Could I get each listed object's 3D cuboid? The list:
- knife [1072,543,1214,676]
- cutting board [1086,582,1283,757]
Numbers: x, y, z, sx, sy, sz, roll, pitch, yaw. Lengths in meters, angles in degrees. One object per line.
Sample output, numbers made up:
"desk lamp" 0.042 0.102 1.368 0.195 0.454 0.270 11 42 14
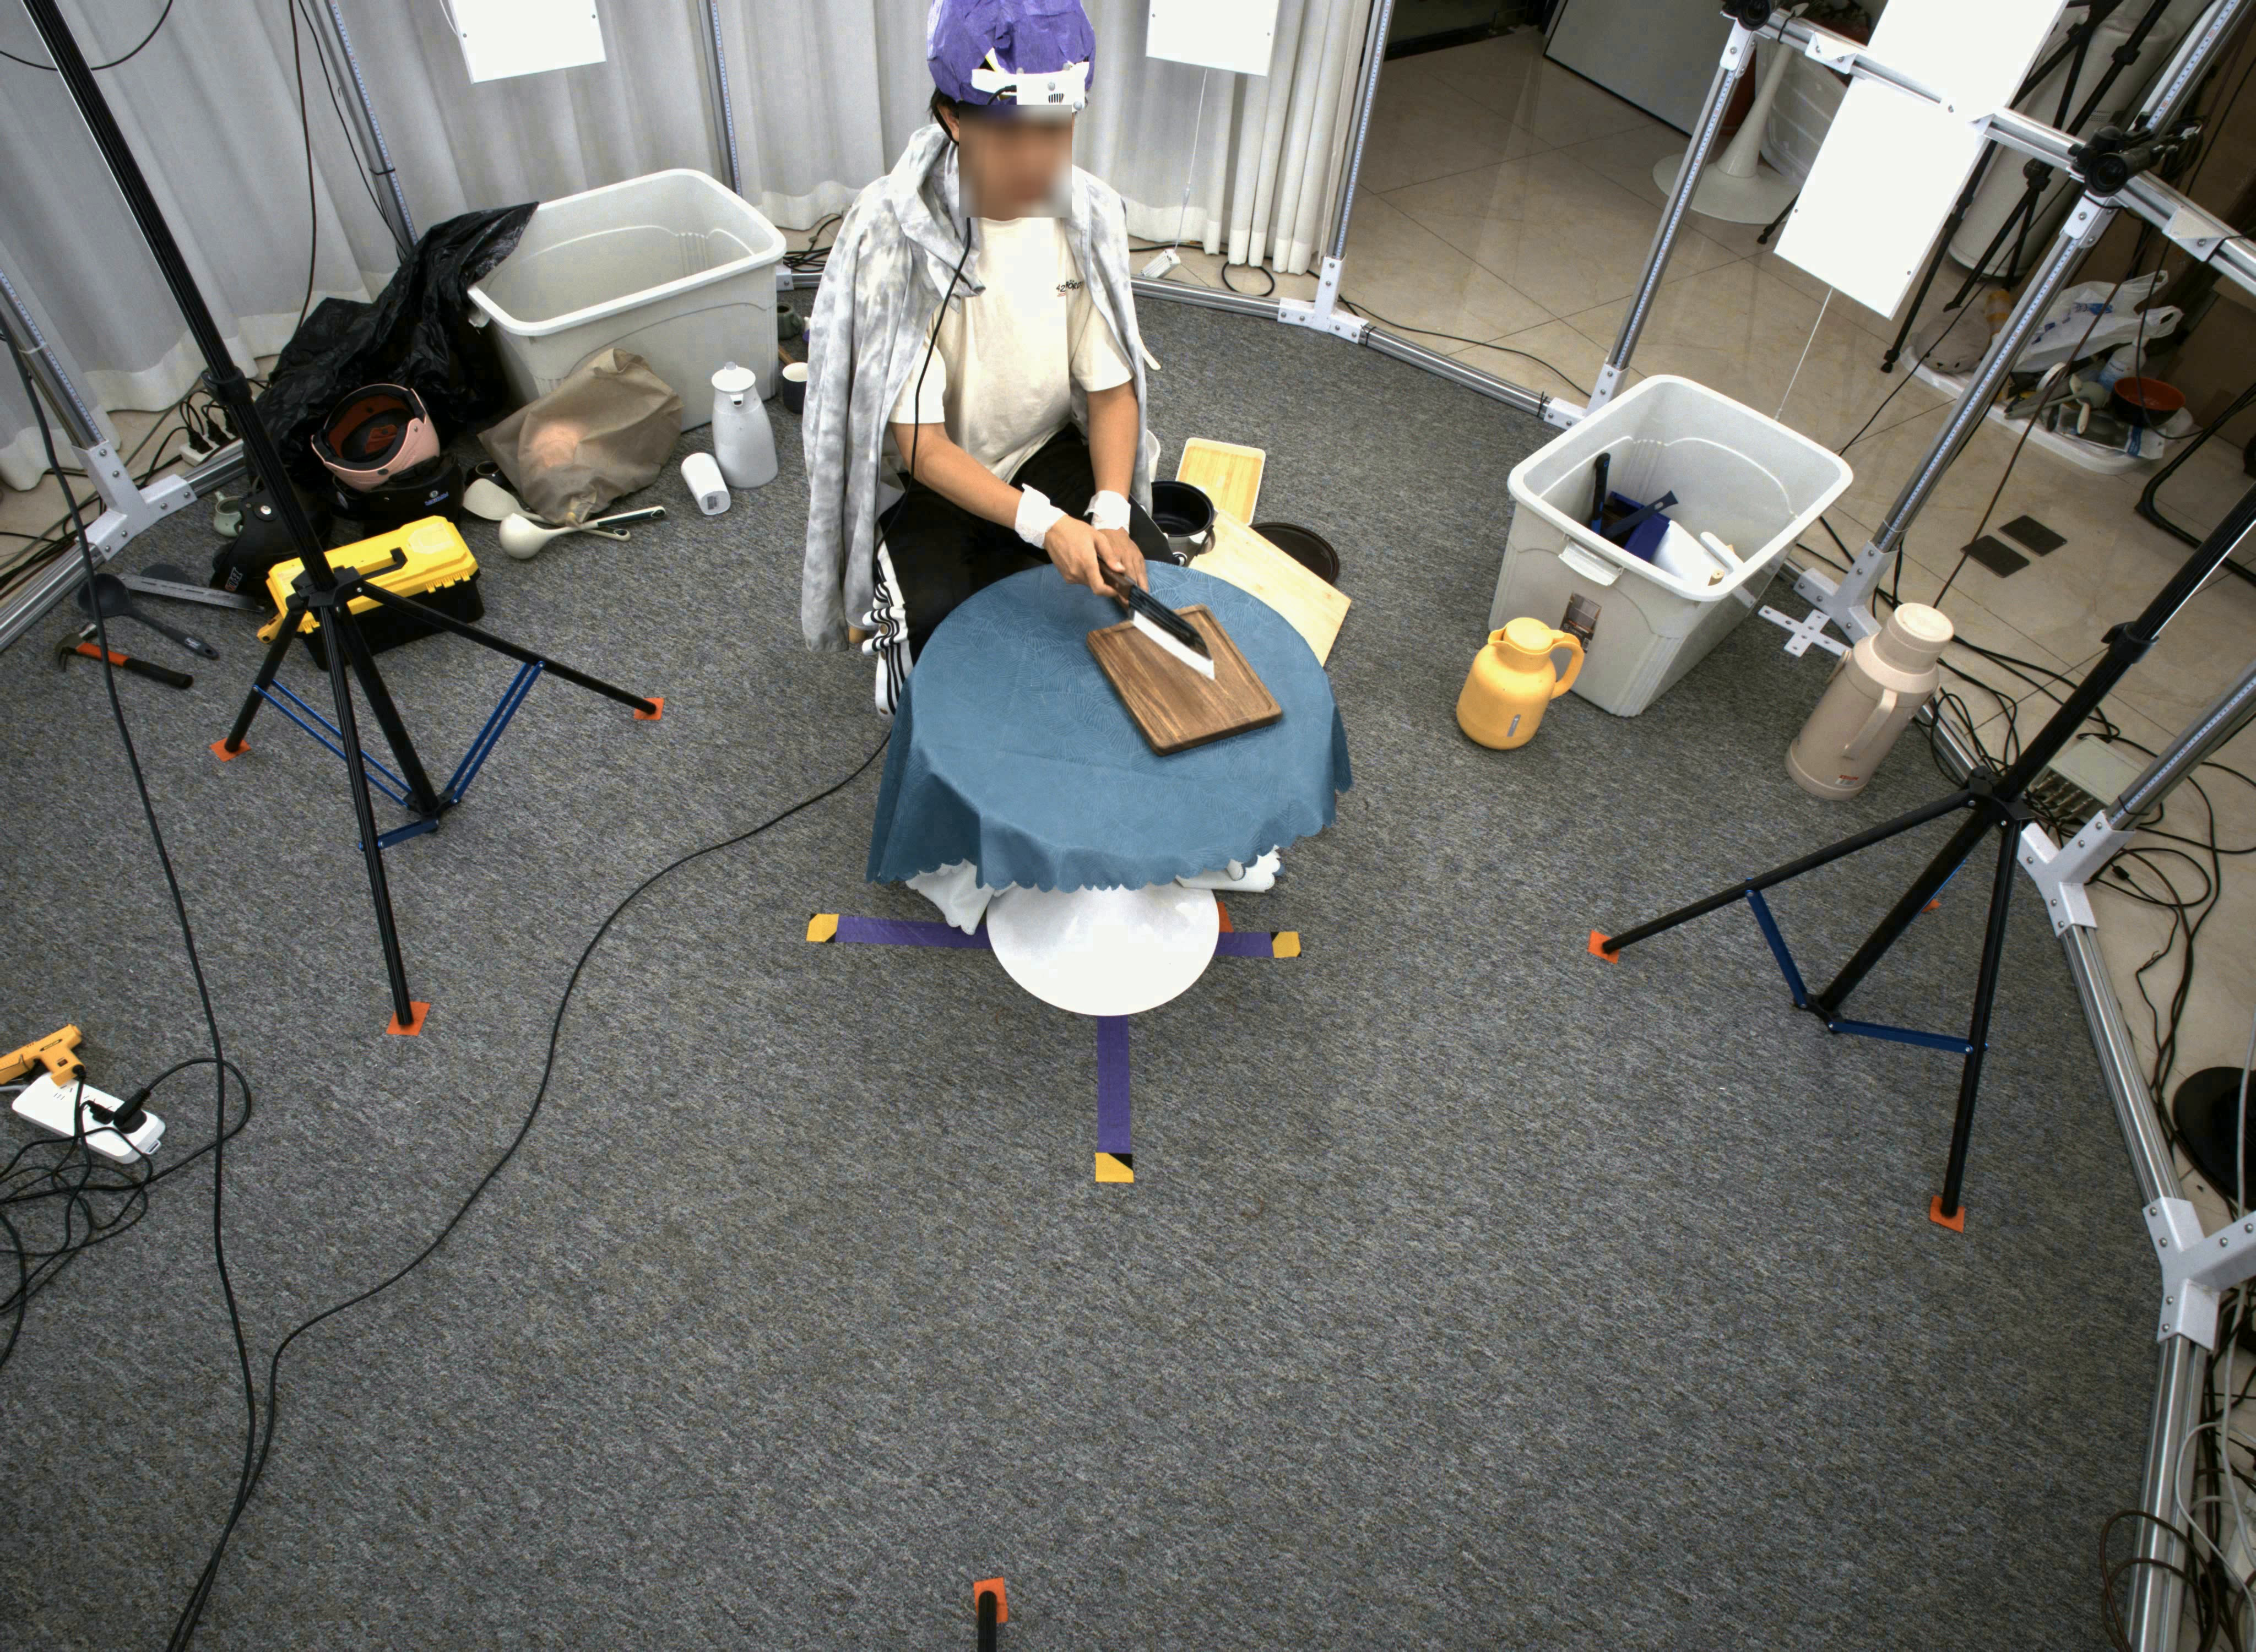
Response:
"knife" 0.021 -0.311 1.839 0.024 0.066 0.304 -28 55 -33
"cutting board" 0.058 -0.250 1.872 0.201 0.022 0.360 -18 52 -17
